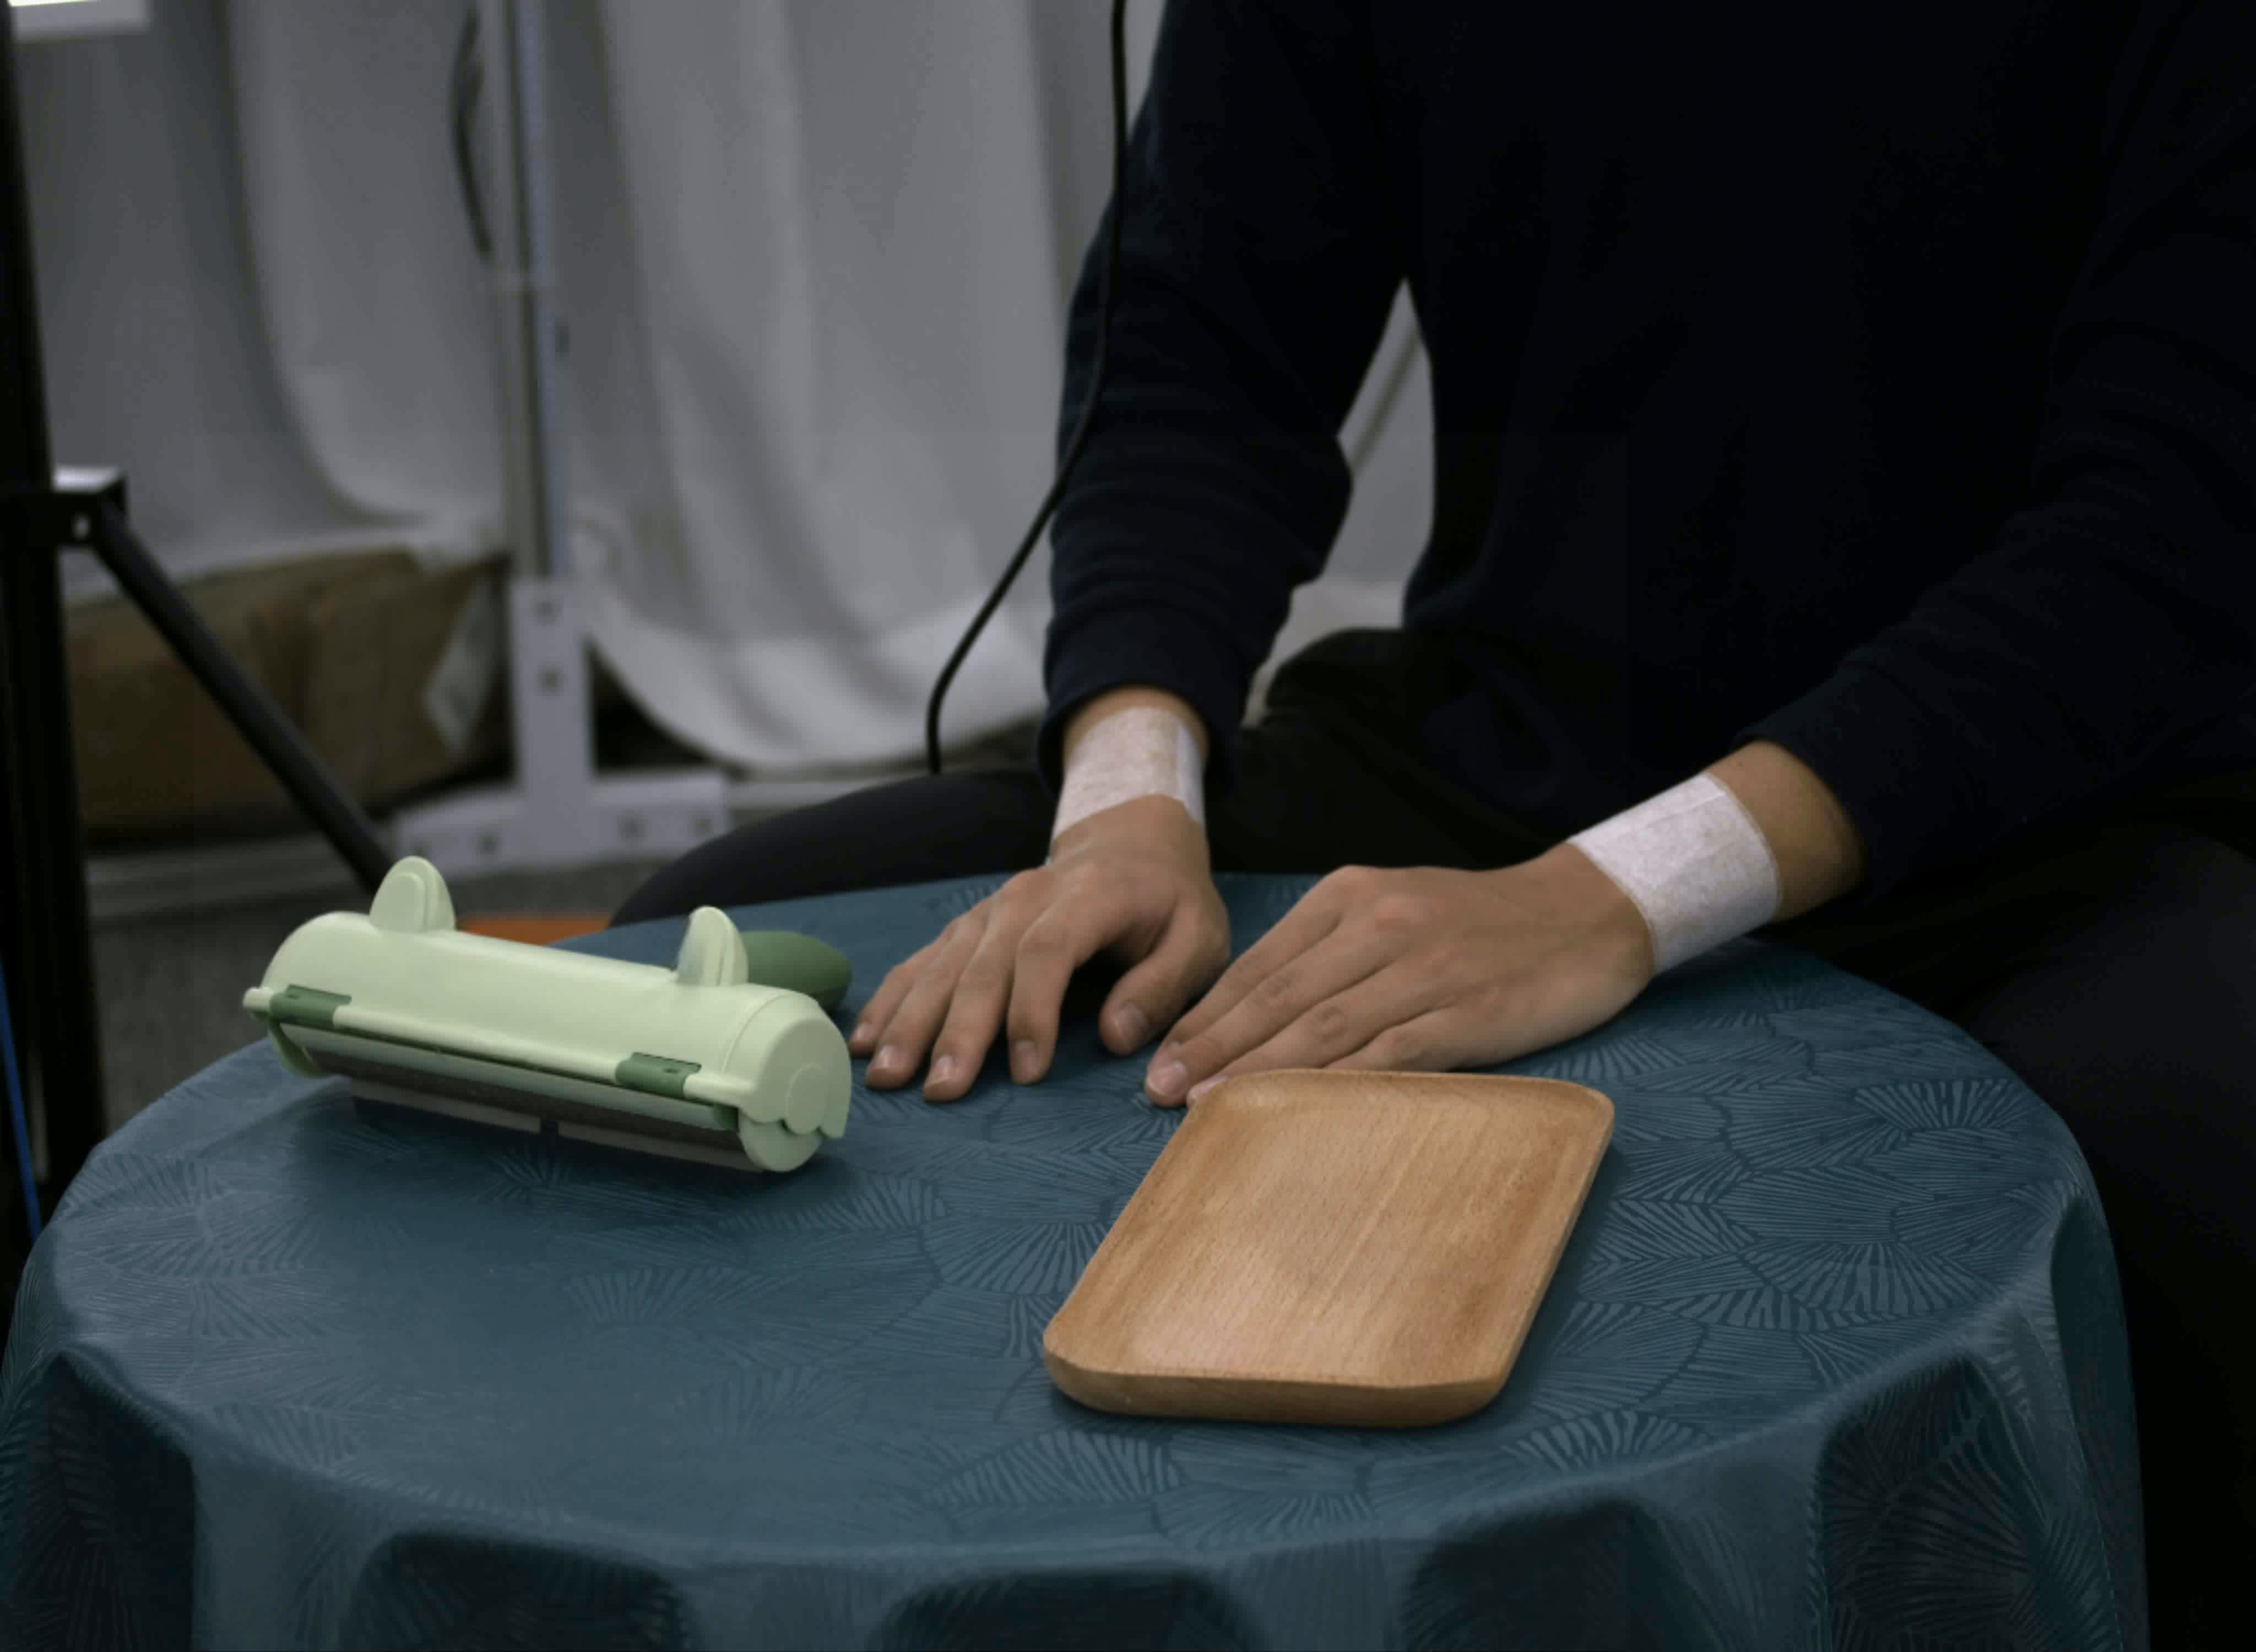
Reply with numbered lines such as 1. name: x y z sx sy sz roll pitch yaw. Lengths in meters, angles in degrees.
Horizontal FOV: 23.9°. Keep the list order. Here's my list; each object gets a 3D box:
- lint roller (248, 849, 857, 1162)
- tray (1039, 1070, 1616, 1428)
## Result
1. lint roller: -0.147 0.038 1.671 0.202 0.082 0.180 9 25 33
2. tray: 0.061 0.116 1.490 0.131 0.023 0.249 3 16 14
